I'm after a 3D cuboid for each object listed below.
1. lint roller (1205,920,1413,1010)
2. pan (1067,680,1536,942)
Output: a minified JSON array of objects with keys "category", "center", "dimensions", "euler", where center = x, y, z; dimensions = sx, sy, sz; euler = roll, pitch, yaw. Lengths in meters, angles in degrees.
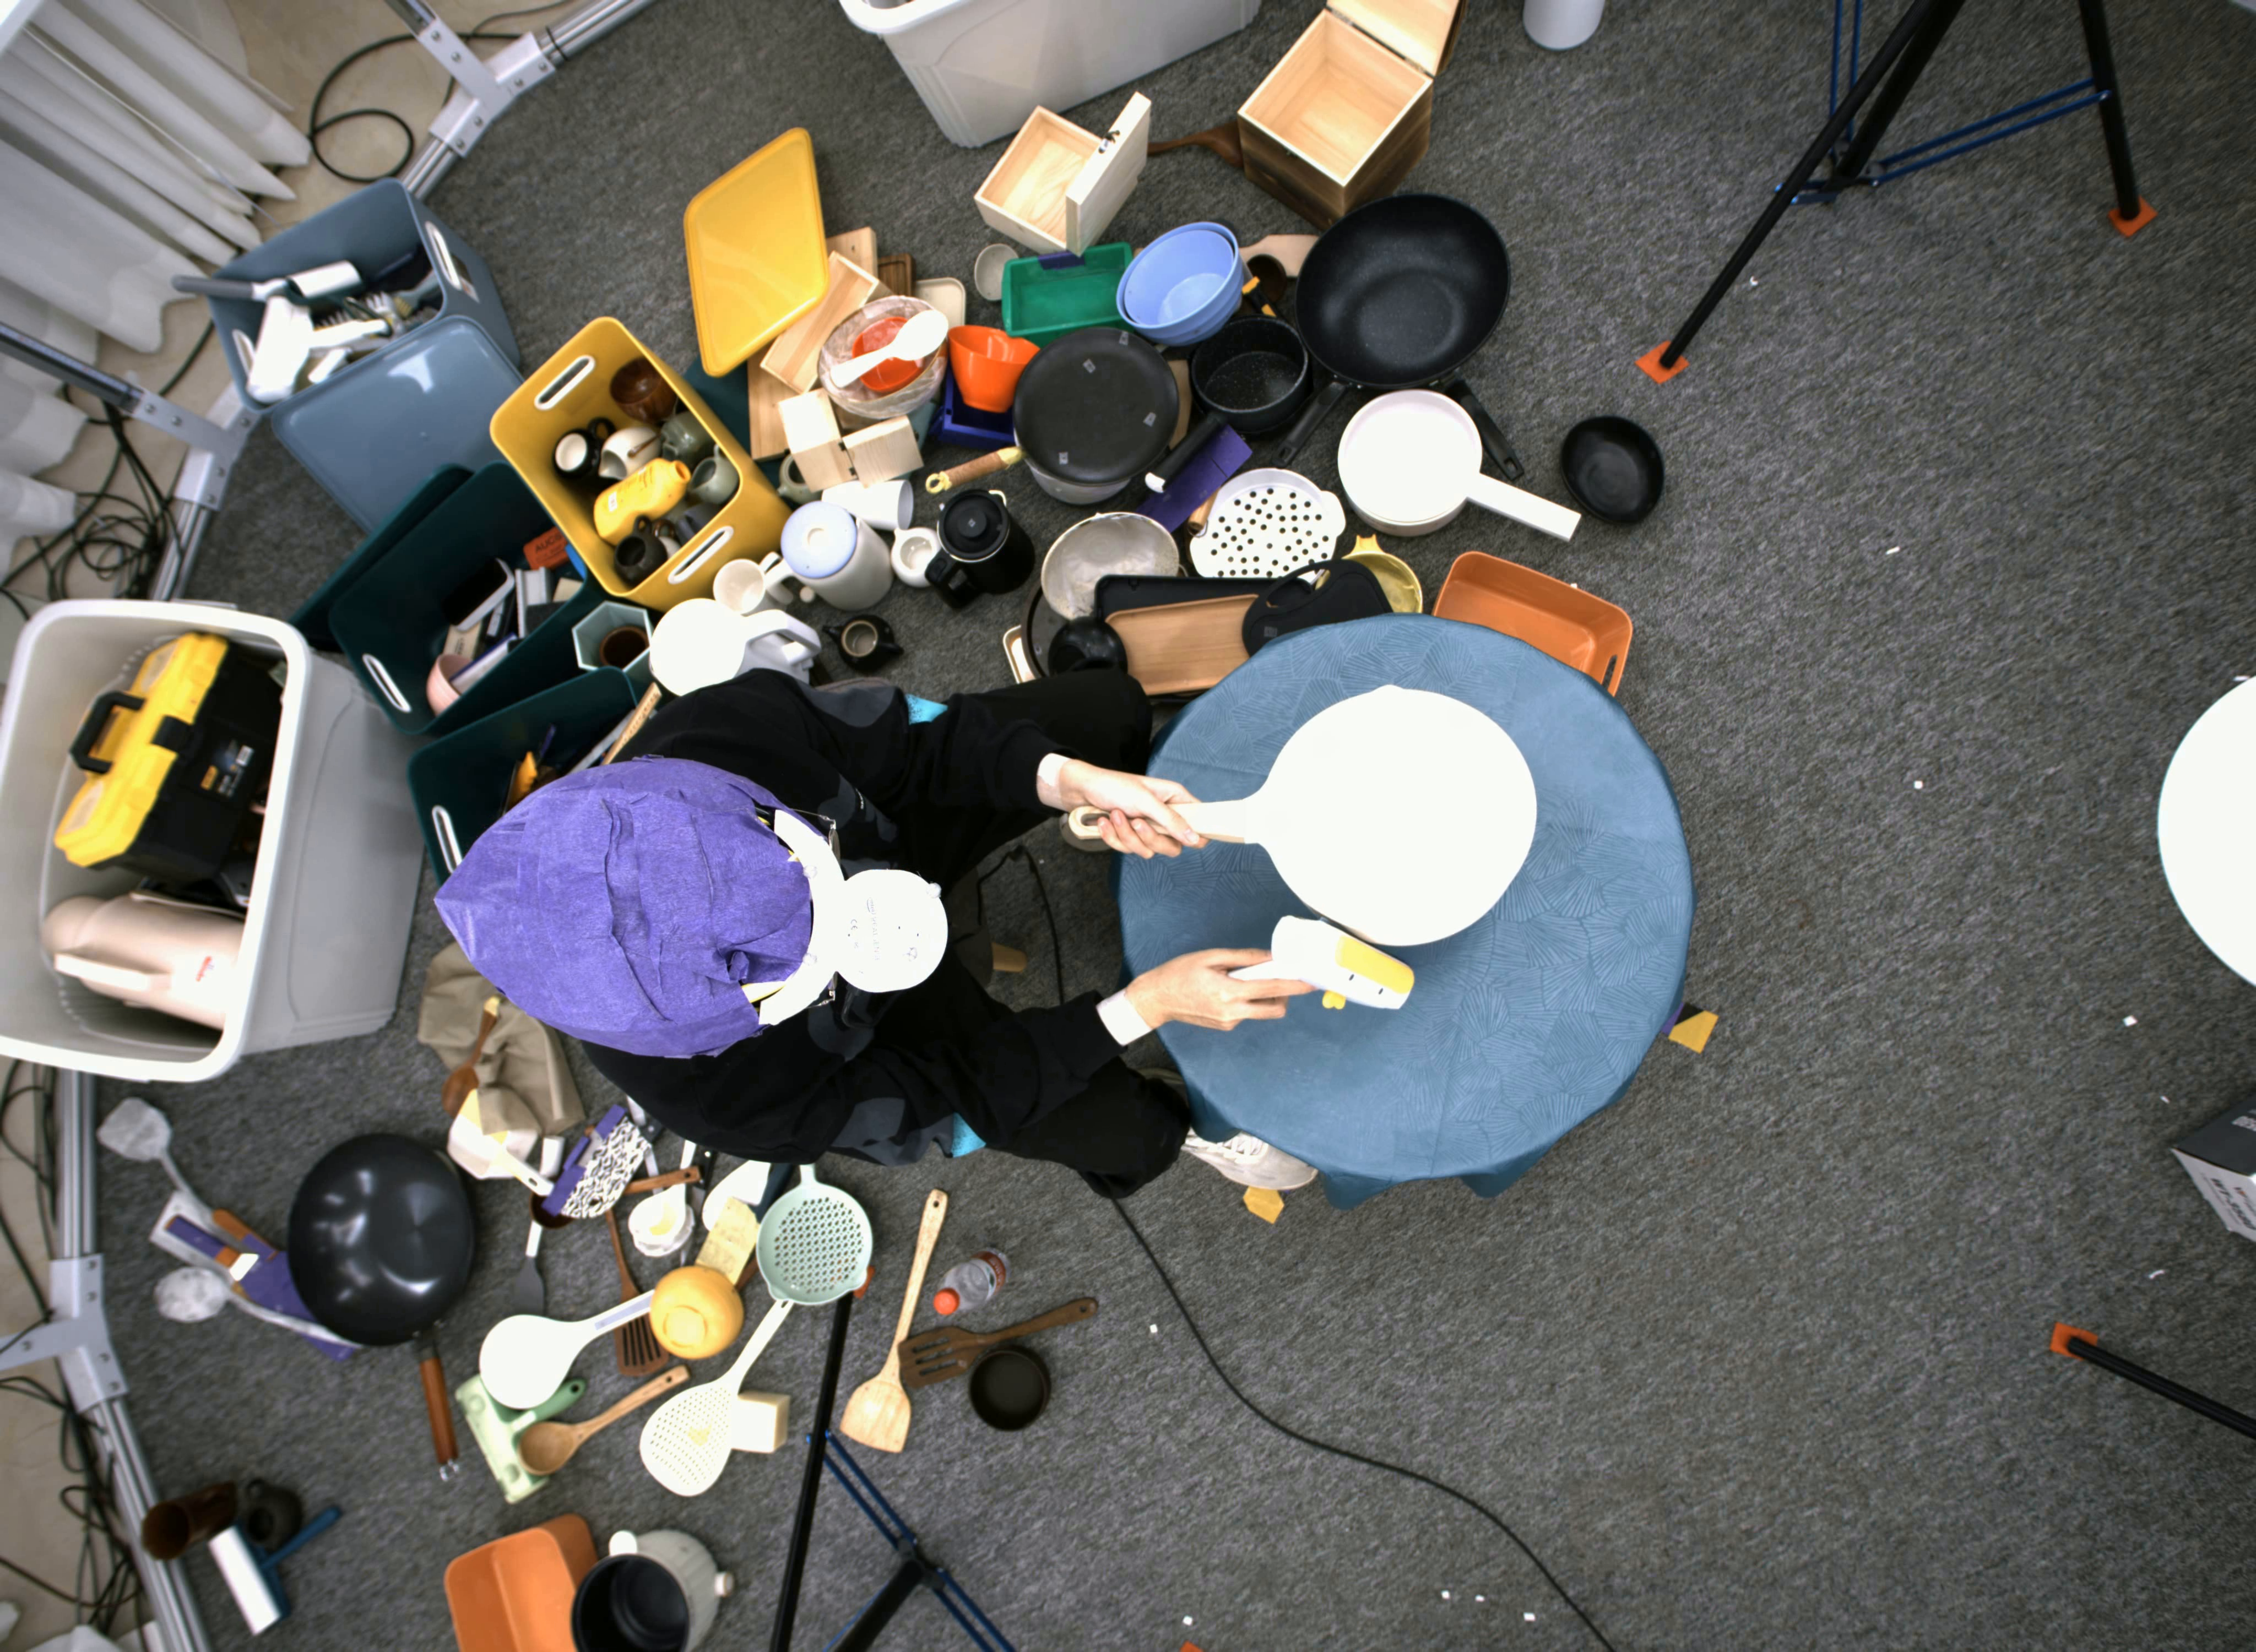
[{"category":"lint roller","center":[0.156,0.141,1.338],"dimensions":[0.194,0.193,0.073],"euler":[-5,74,42]},{"category":"pan","center":[0.165,-0.002,1.323],"dimensions":[0.437,0.103,0.258],"euler":[-5,69,12]}]
